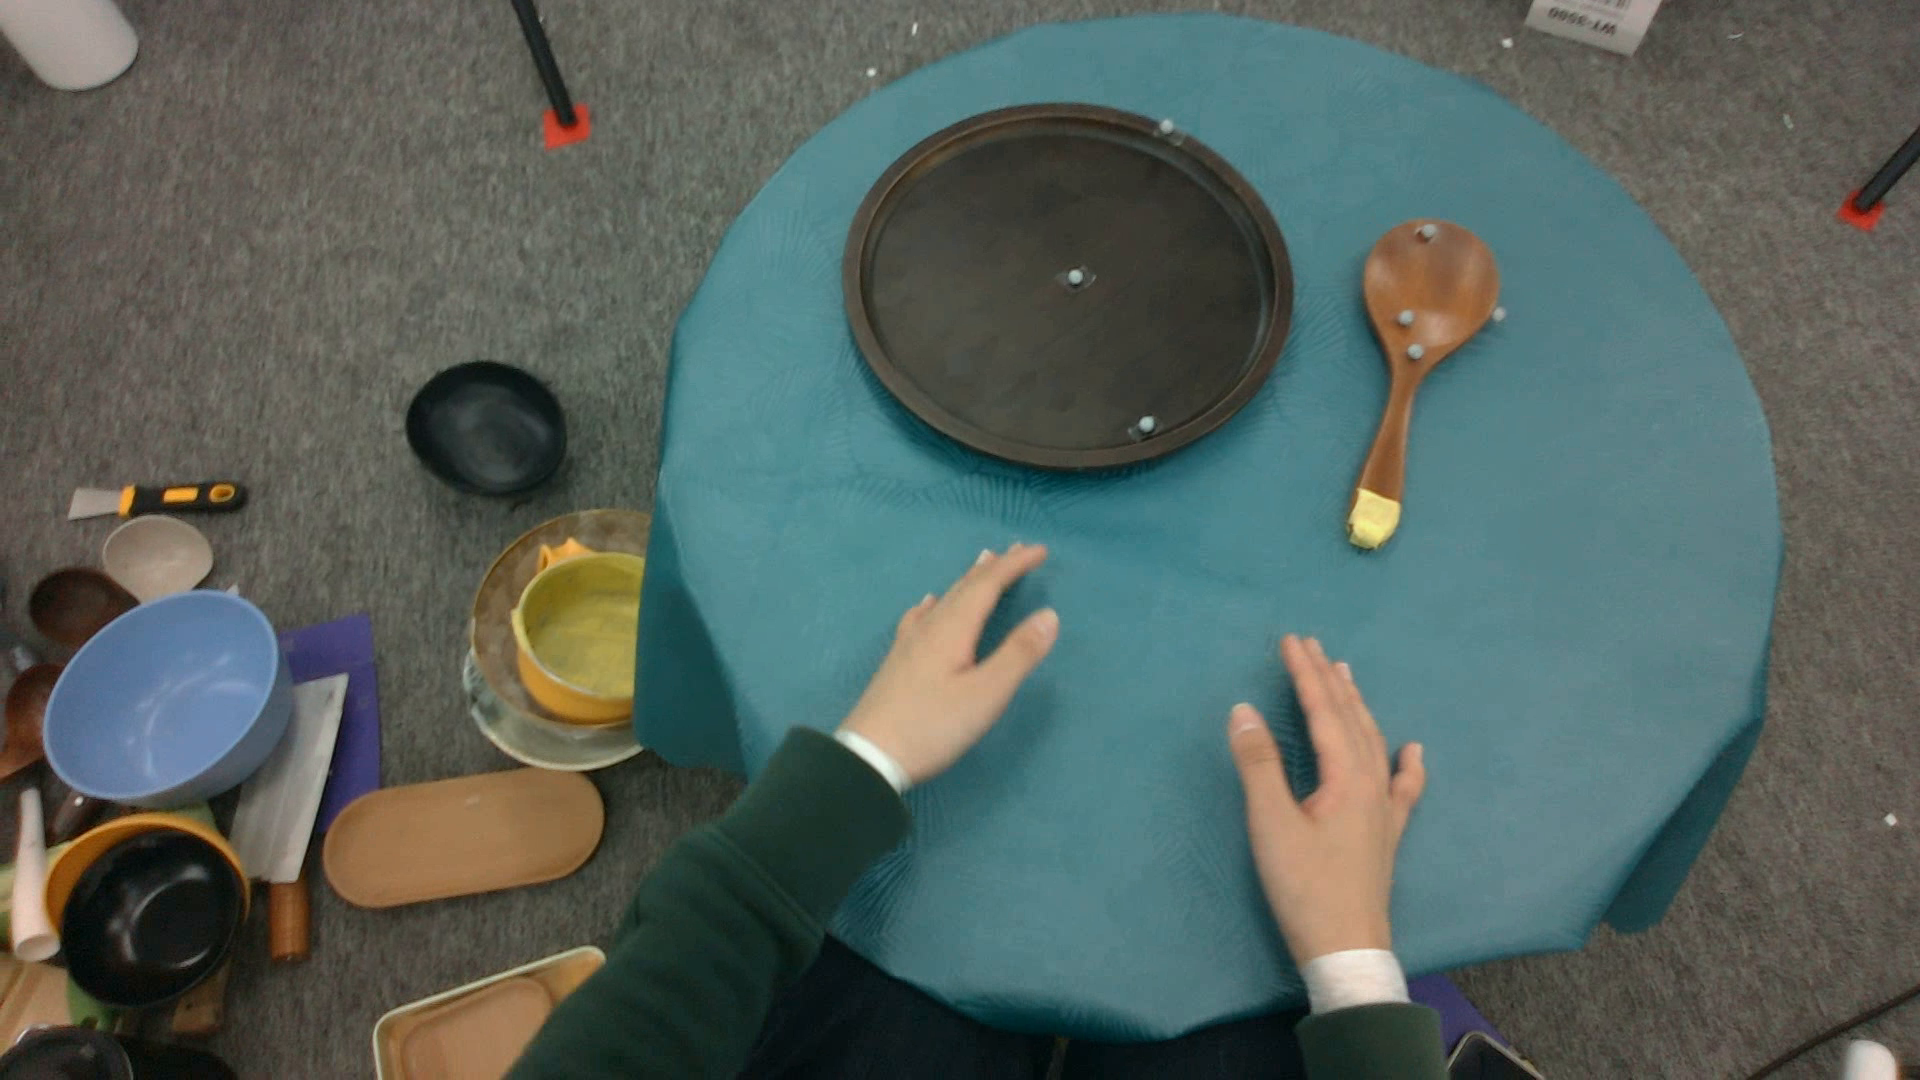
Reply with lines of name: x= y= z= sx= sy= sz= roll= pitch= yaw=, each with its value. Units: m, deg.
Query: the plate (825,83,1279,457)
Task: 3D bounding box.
plate: x=0.051 y=-0.156 z=0.775 sx=0.255 sy=0.029 sz=0.256 roll=0 pitch=62 yaw=-1

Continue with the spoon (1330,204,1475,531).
spoon: x=0.234 y=-0.098 z=0.753 sx=0.075 sy=0.017 sz=0.217 roll=17 pitch=64 yaw=7
